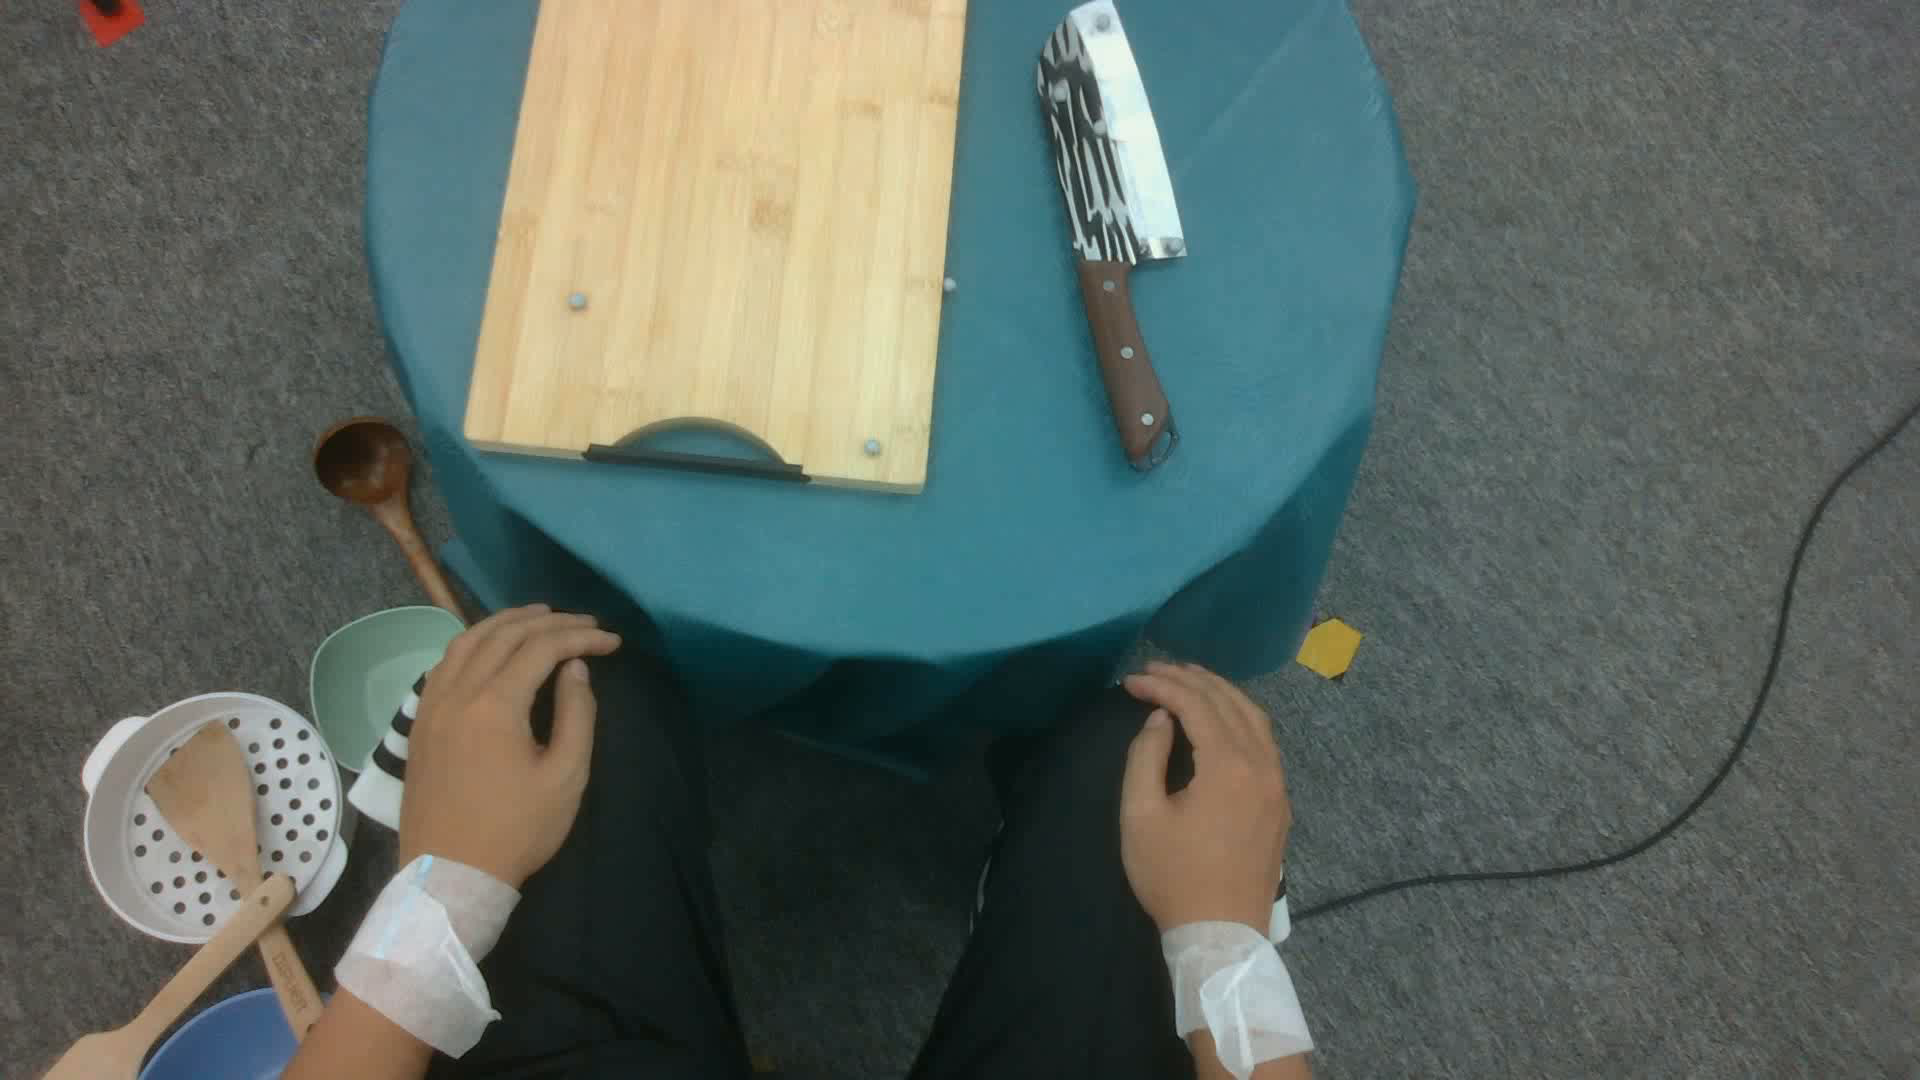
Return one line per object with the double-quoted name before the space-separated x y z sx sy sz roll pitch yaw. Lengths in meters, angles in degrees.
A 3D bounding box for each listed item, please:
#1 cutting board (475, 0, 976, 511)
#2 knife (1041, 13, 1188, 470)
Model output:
"cutting board" -0.124 -0.194 0.790 0.251 0.023 0.349 4 74 -4
"knife" 0.096 -0.183 0.806 0.068 0.024 0.300 -7 72 -9
